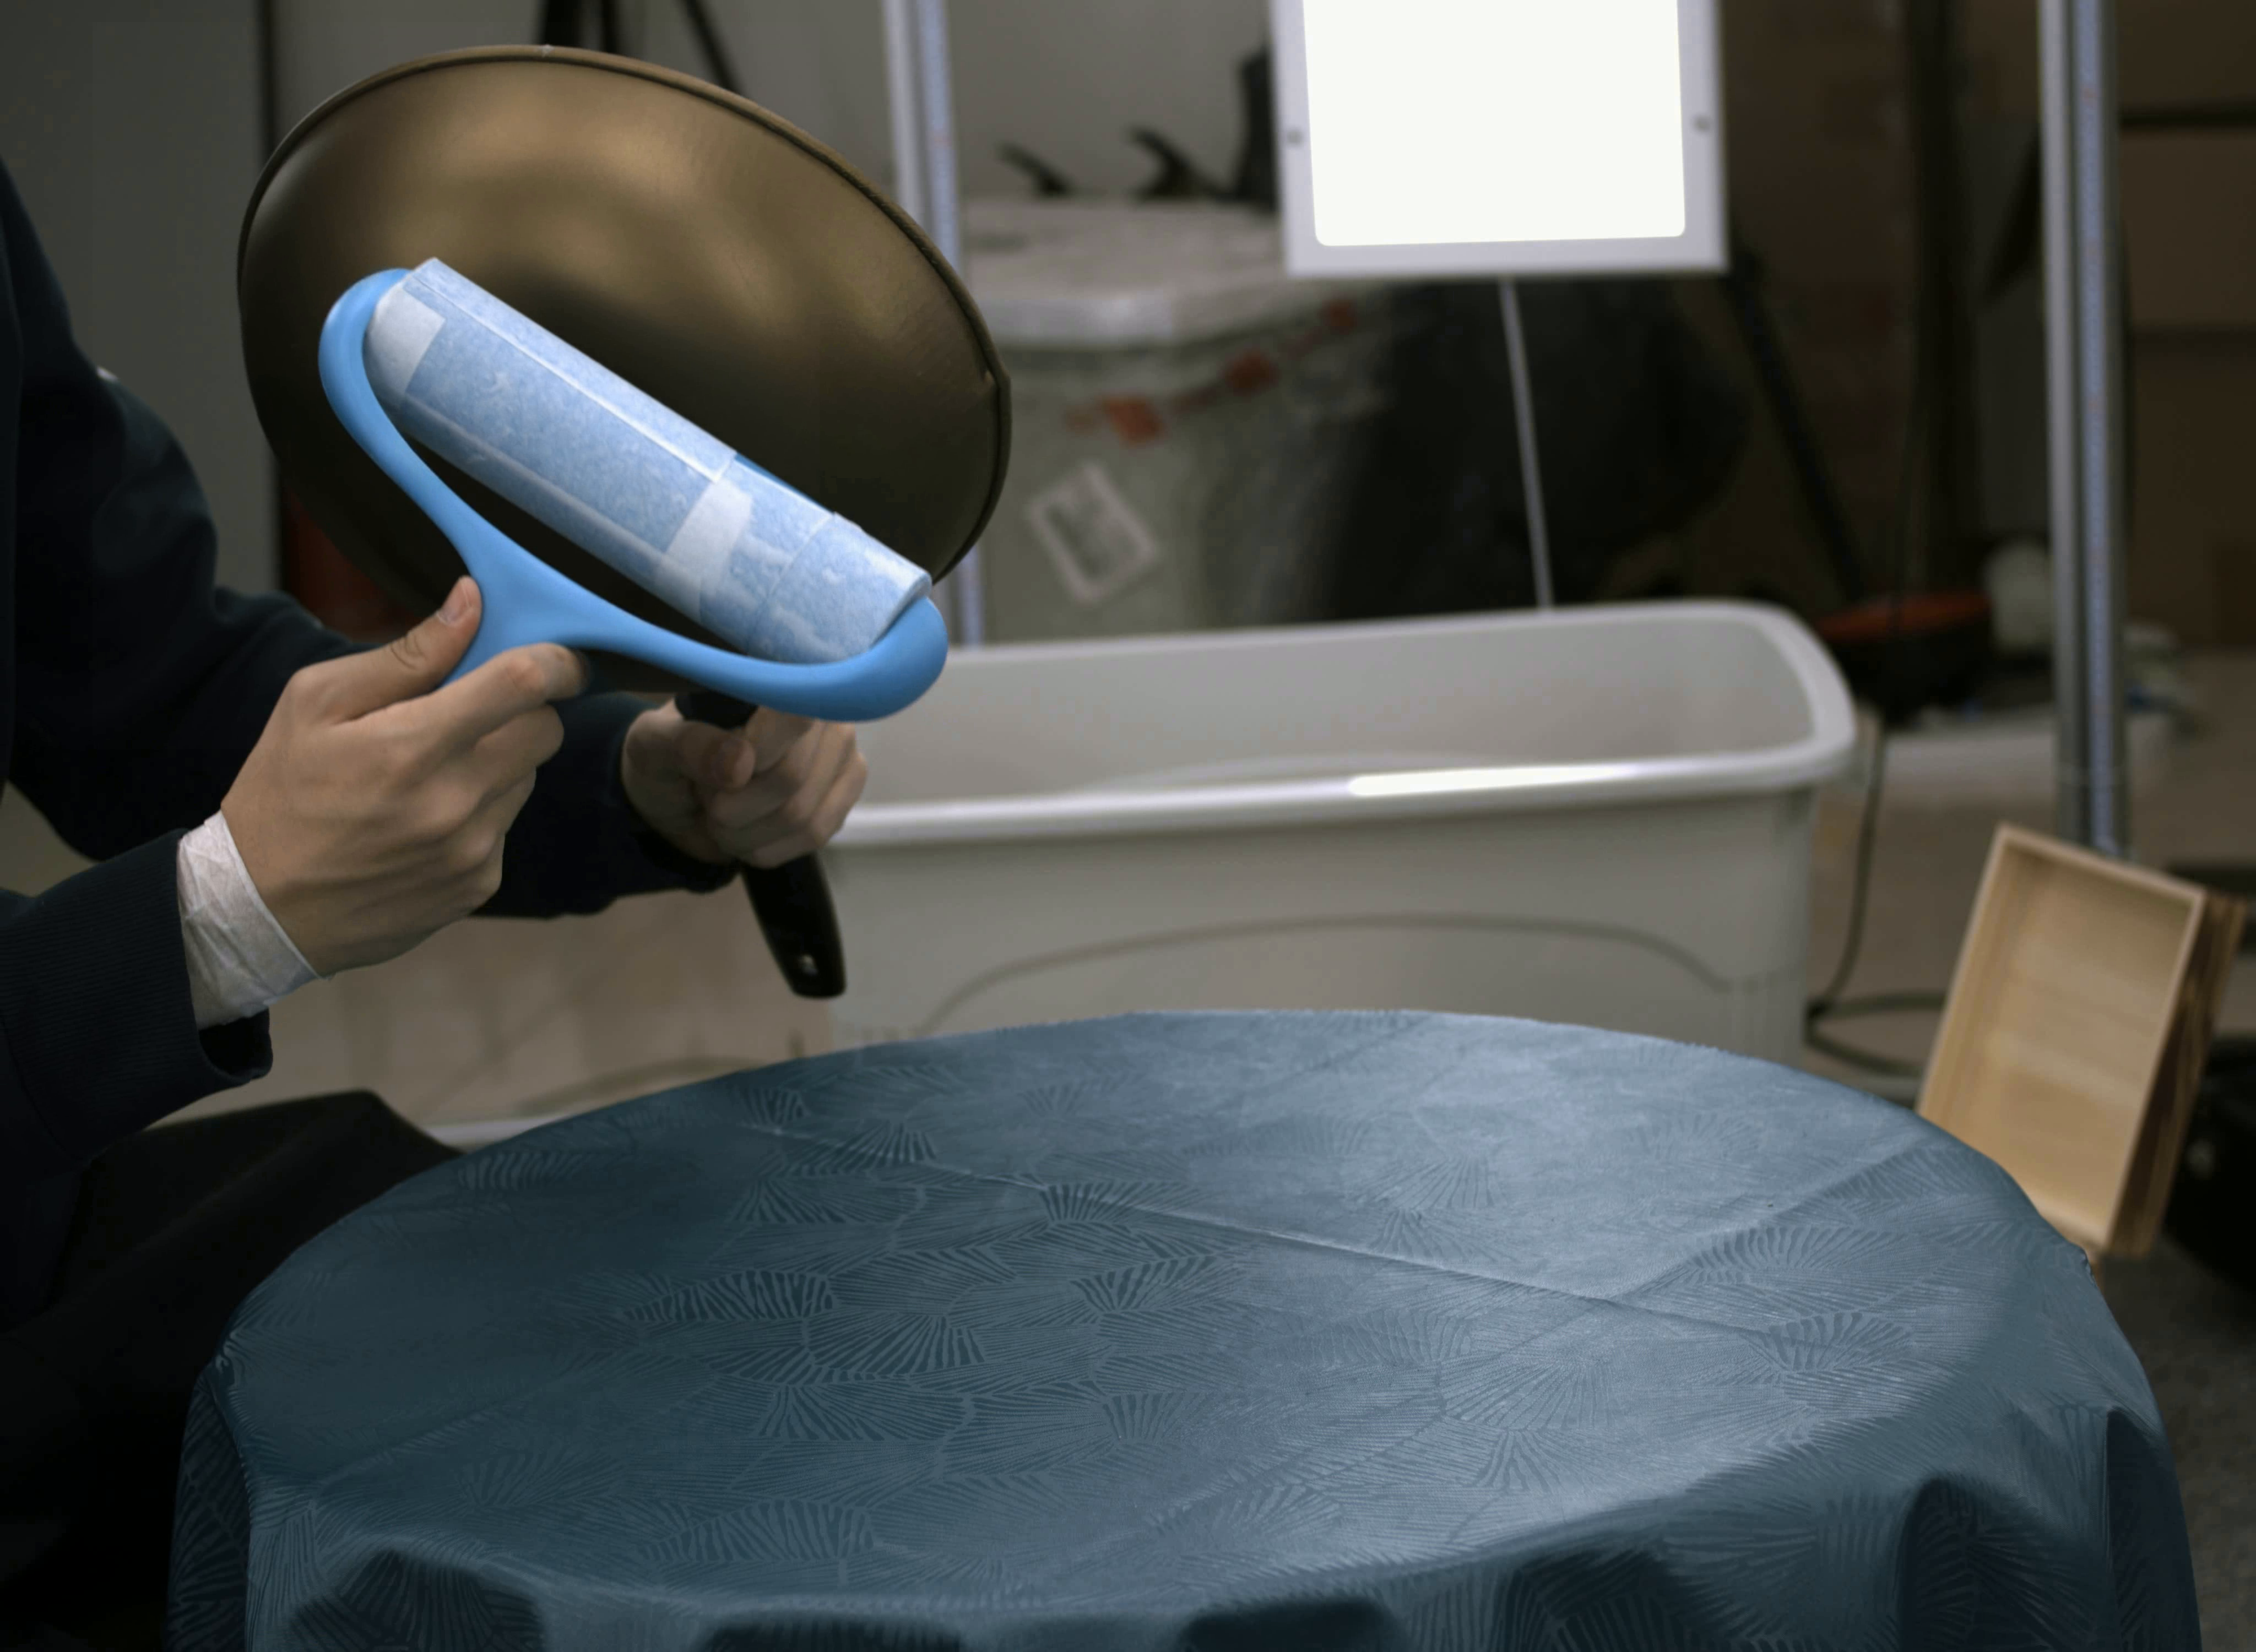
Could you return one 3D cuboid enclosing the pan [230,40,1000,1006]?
[{"bbox_3d":[-0.171,-0.073,1.973,0.292,0.462,0.086,3,46,20],"label":"pan"}]

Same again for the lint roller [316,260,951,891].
[{"bbox_3d":[-0.186,-0.061,1.752,0.229,0.179,0.068,30,-14,4],"label":"lint roller"}]
